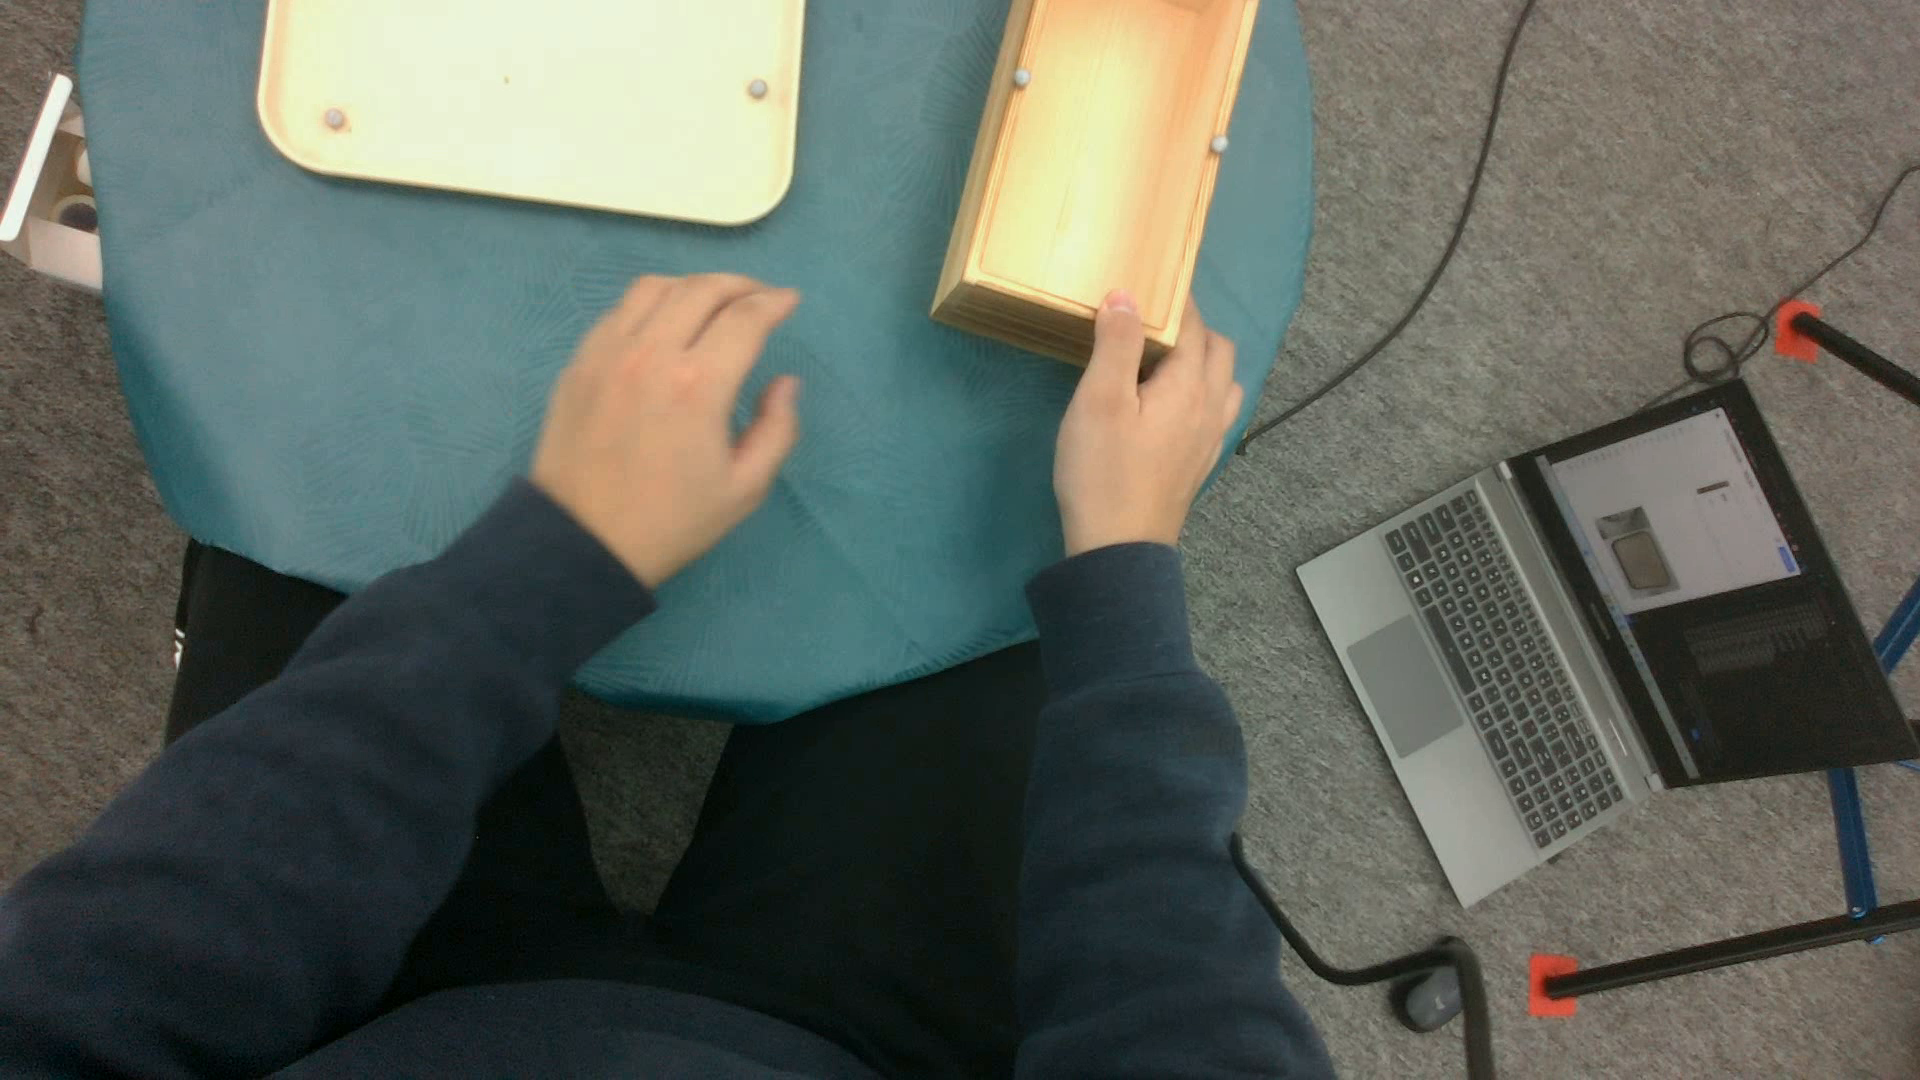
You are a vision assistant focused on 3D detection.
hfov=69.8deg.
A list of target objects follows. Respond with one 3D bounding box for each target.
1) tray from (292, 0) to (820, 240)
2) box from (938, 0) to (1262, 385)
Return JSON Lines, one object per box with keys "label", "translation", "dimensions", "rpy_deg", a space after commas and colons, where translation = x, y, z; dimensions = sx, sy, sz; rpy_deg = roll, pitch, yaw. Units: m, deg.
{"label": "tray", "translation": [-0.191, -0.238, 0.672], "dimensions": [0.240, 0.017, 0.171], "rpy_deg": [5, 85, -12]}
{"label": "box", "translation": [0.071, -0.198, 0.691], "dimensions": [0.107, 0.080, 0.211], "rpy_deg": [15, 82, -10]}
